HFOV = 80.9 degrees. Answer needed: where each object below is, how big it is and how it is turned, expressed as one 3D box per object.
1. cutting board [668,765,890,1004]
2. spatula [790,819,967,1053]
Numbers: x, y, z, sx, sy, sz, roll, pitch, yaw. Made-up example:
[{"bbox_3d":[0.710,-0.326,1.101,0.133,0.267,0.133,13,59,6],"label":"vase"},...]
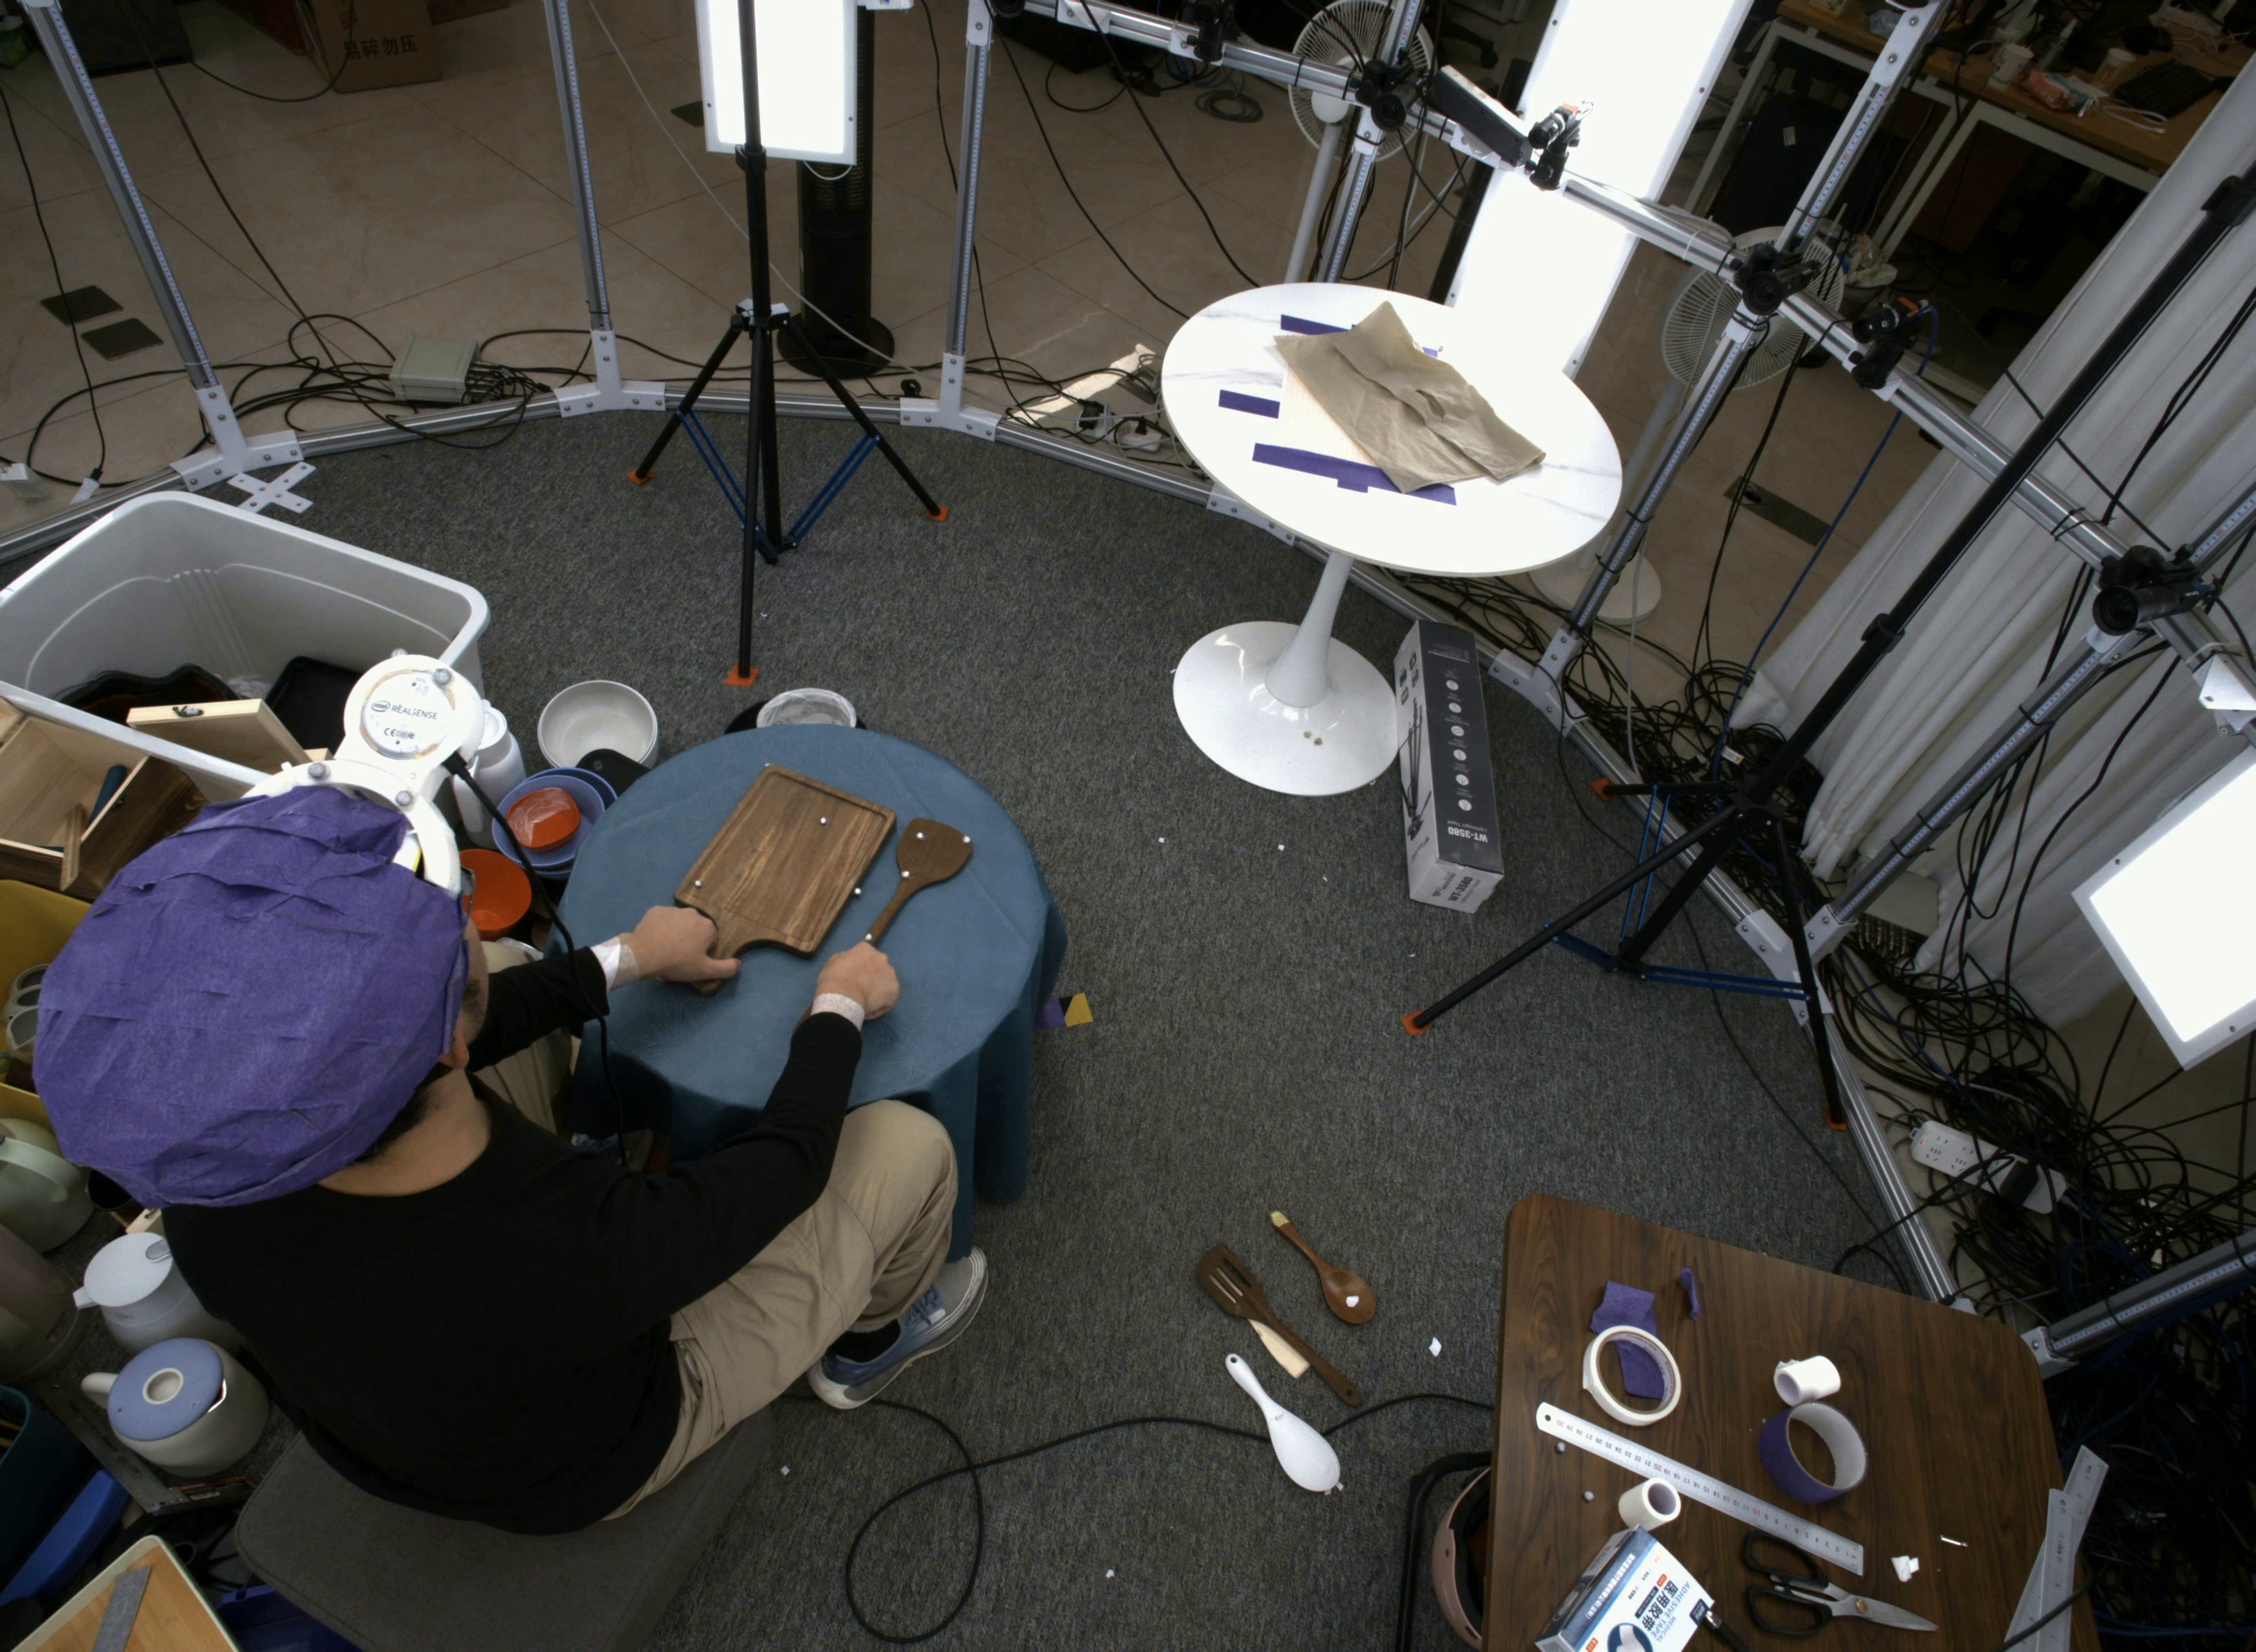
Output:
[{"bbox_3d":[-0.460,0.075,1.640,0.199,0.023,0.349,21,51,2],"label":"cutting board"},{"bbox_3d":[-0.319,0.129,1.634,0.095,0.016,0.383,24,49,5],"label":"spatula"}]
